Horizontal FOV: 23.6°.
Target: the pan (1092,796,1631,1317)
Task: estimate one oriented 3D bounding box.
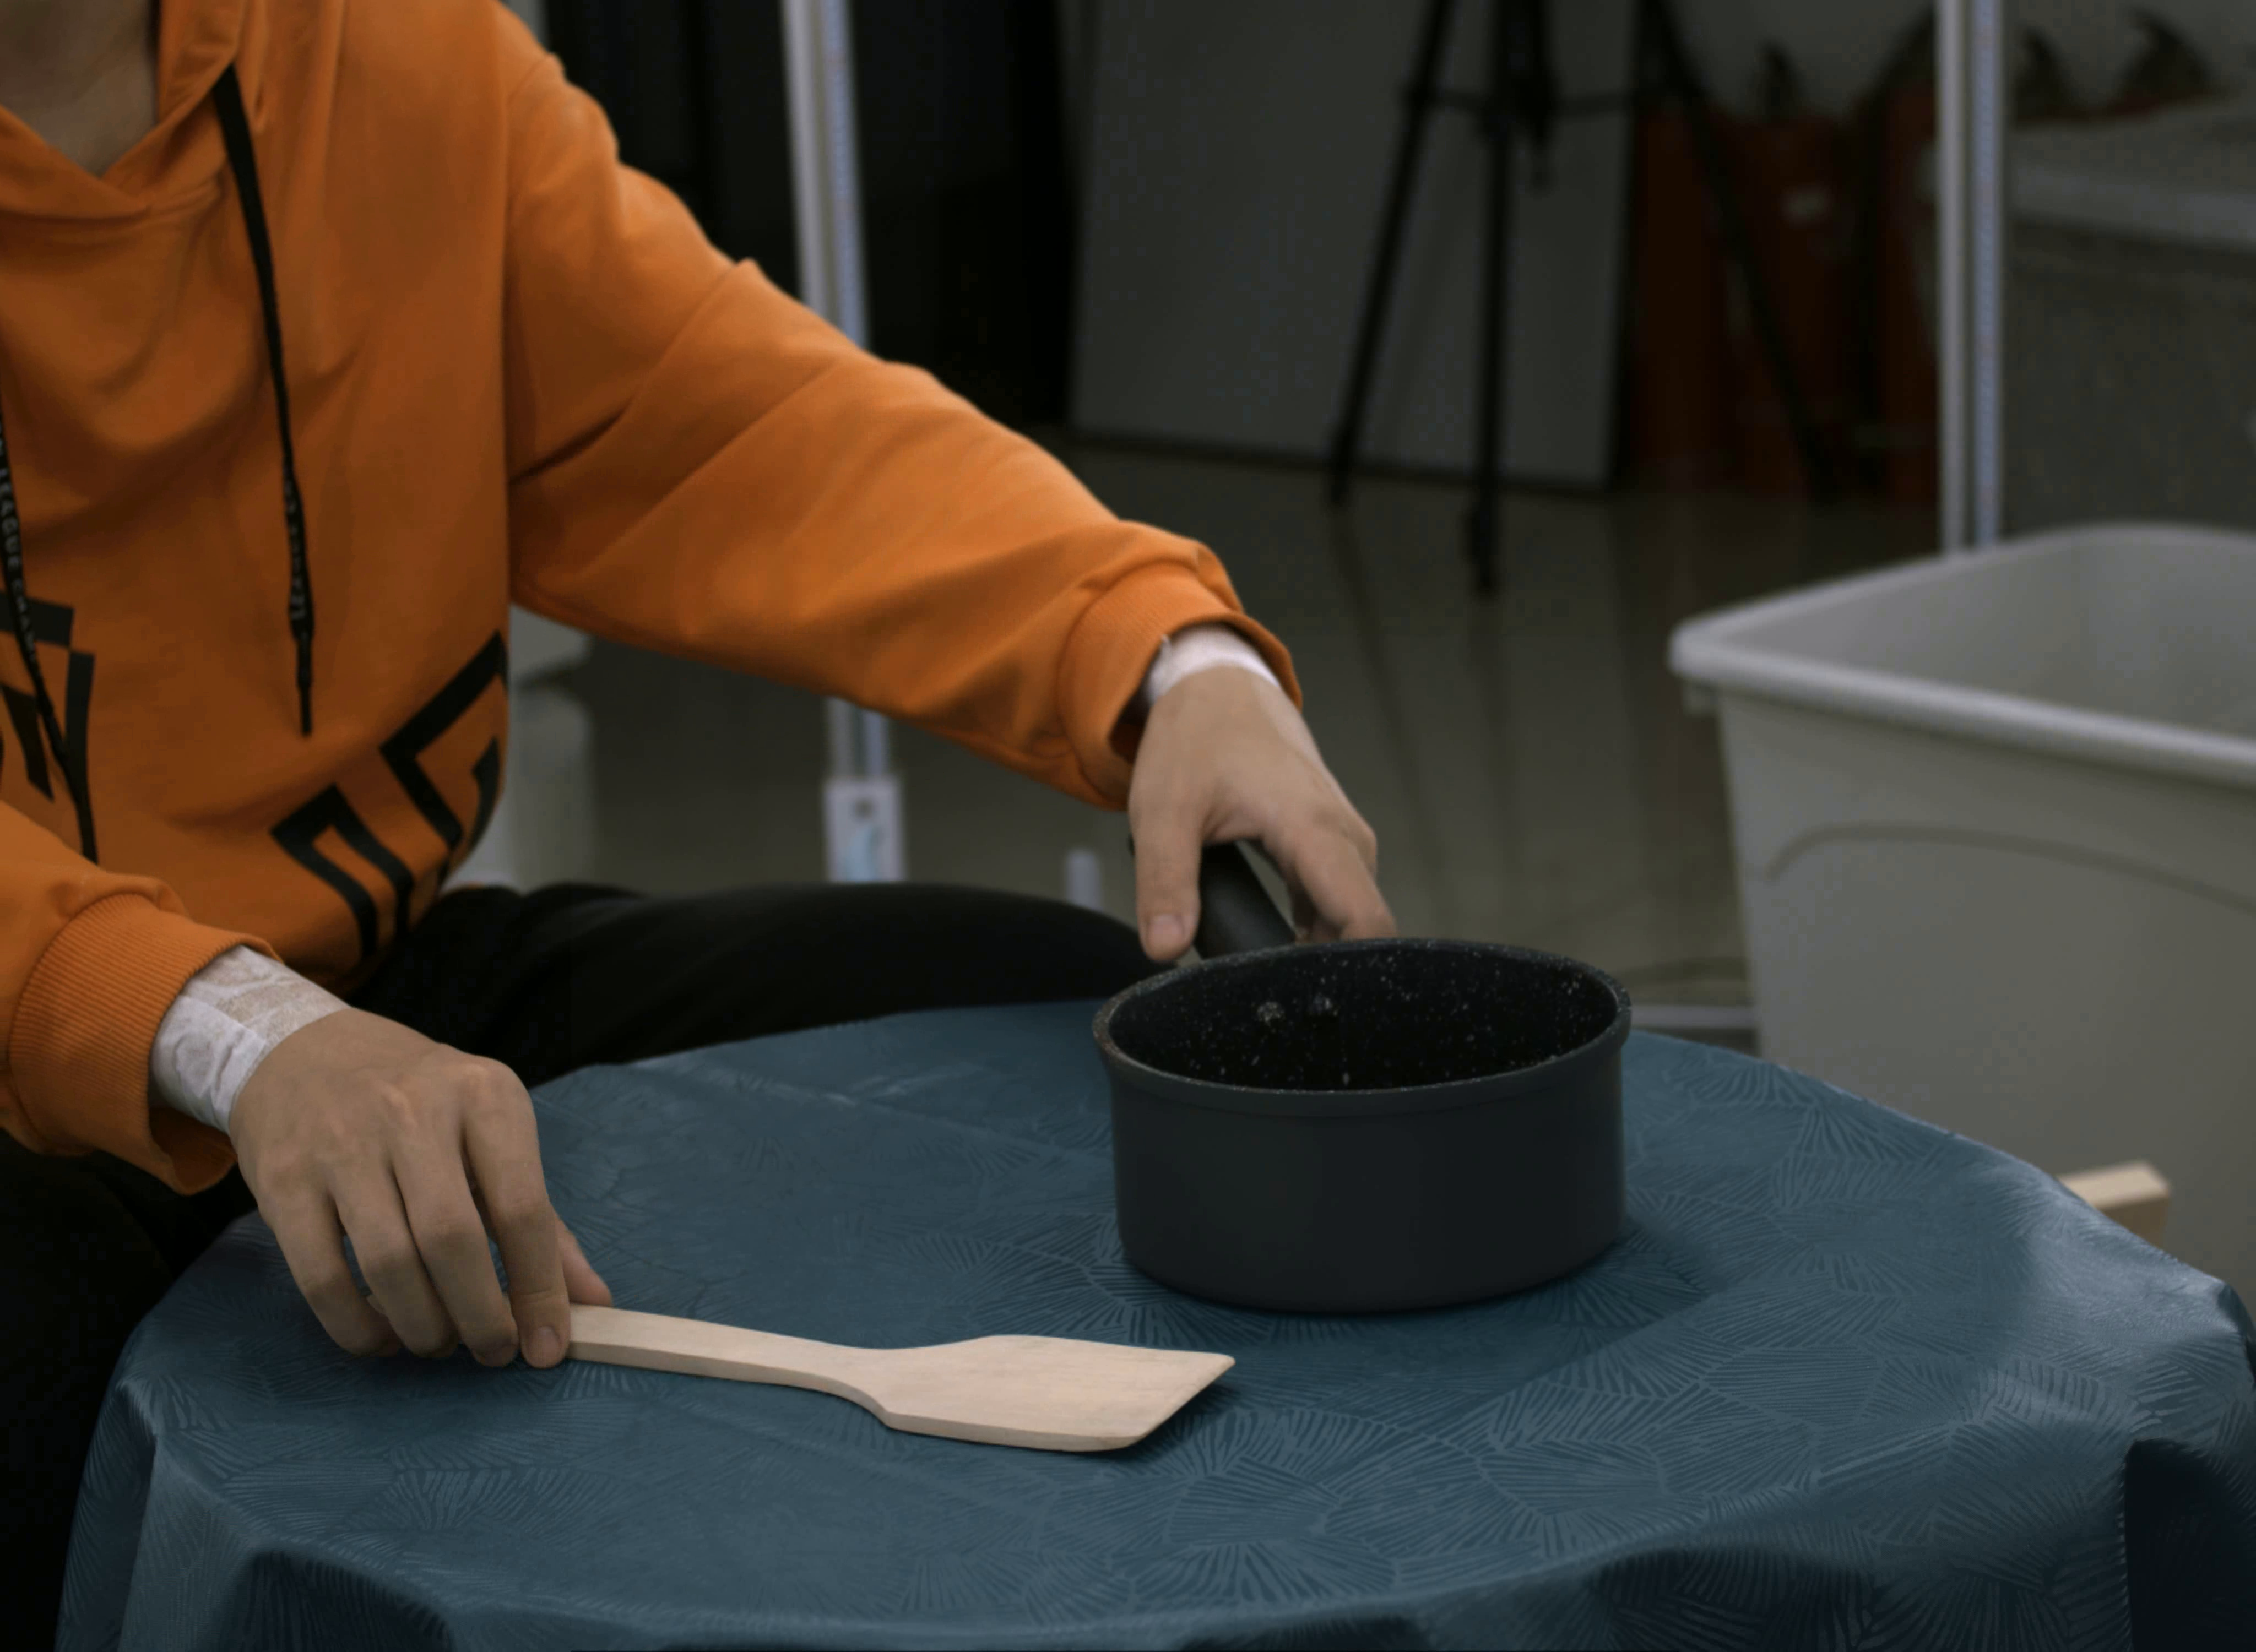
[{"bbox_3d":[0.060,0.072,1.775,0.169,0.087,0.331,-6,15,-10],"label":"pan"}]

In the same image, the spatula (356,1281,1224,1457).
[{"bbox_3d":[-0.112,0.160,1.627,0.294,0.011,0.071,4,20,30],"label":"spatula"}]
